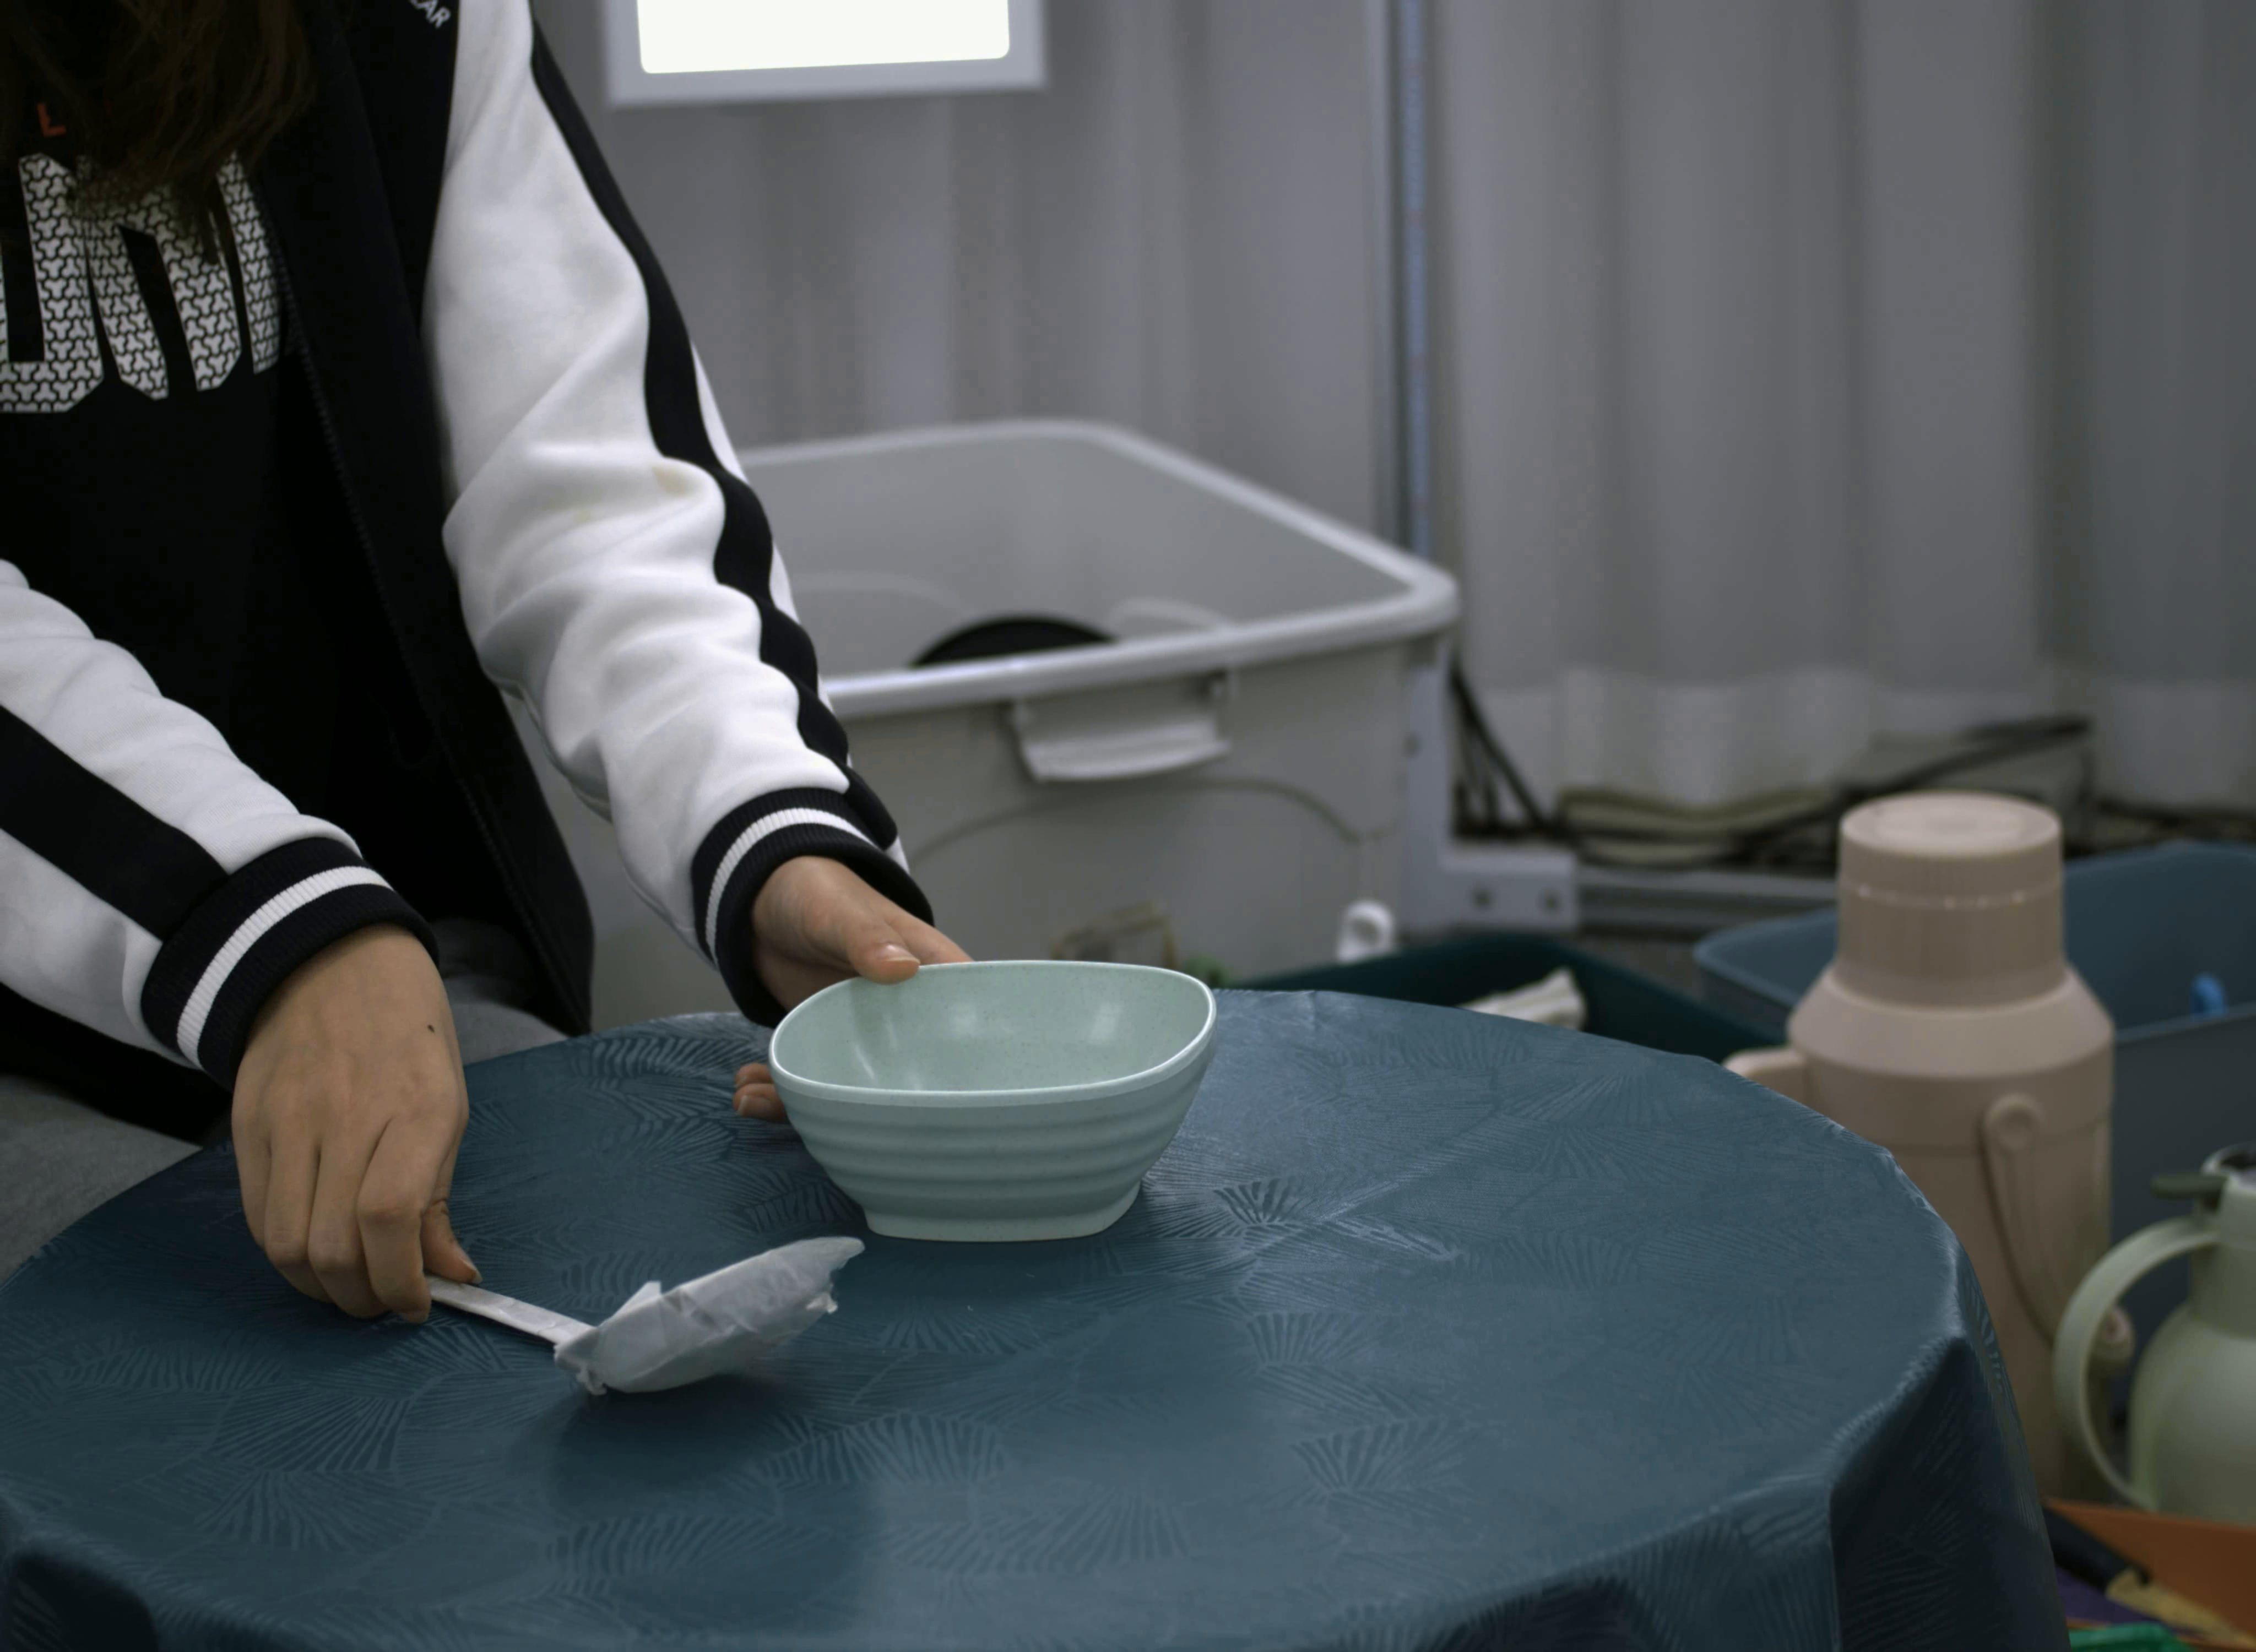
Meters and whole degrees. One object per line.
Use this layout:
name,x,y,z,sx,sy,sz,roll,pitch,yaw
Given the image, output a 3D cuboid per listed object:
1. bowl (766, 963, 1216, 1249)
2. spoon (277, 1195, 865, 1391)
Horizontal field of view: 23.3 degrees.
bowl,-0.041,0.091,1.708,0.151,0.058,0.152,-2,15,0
spoon,-0.177,0.119,1.625,0.100,0.059,0.279,-6,14,-37
